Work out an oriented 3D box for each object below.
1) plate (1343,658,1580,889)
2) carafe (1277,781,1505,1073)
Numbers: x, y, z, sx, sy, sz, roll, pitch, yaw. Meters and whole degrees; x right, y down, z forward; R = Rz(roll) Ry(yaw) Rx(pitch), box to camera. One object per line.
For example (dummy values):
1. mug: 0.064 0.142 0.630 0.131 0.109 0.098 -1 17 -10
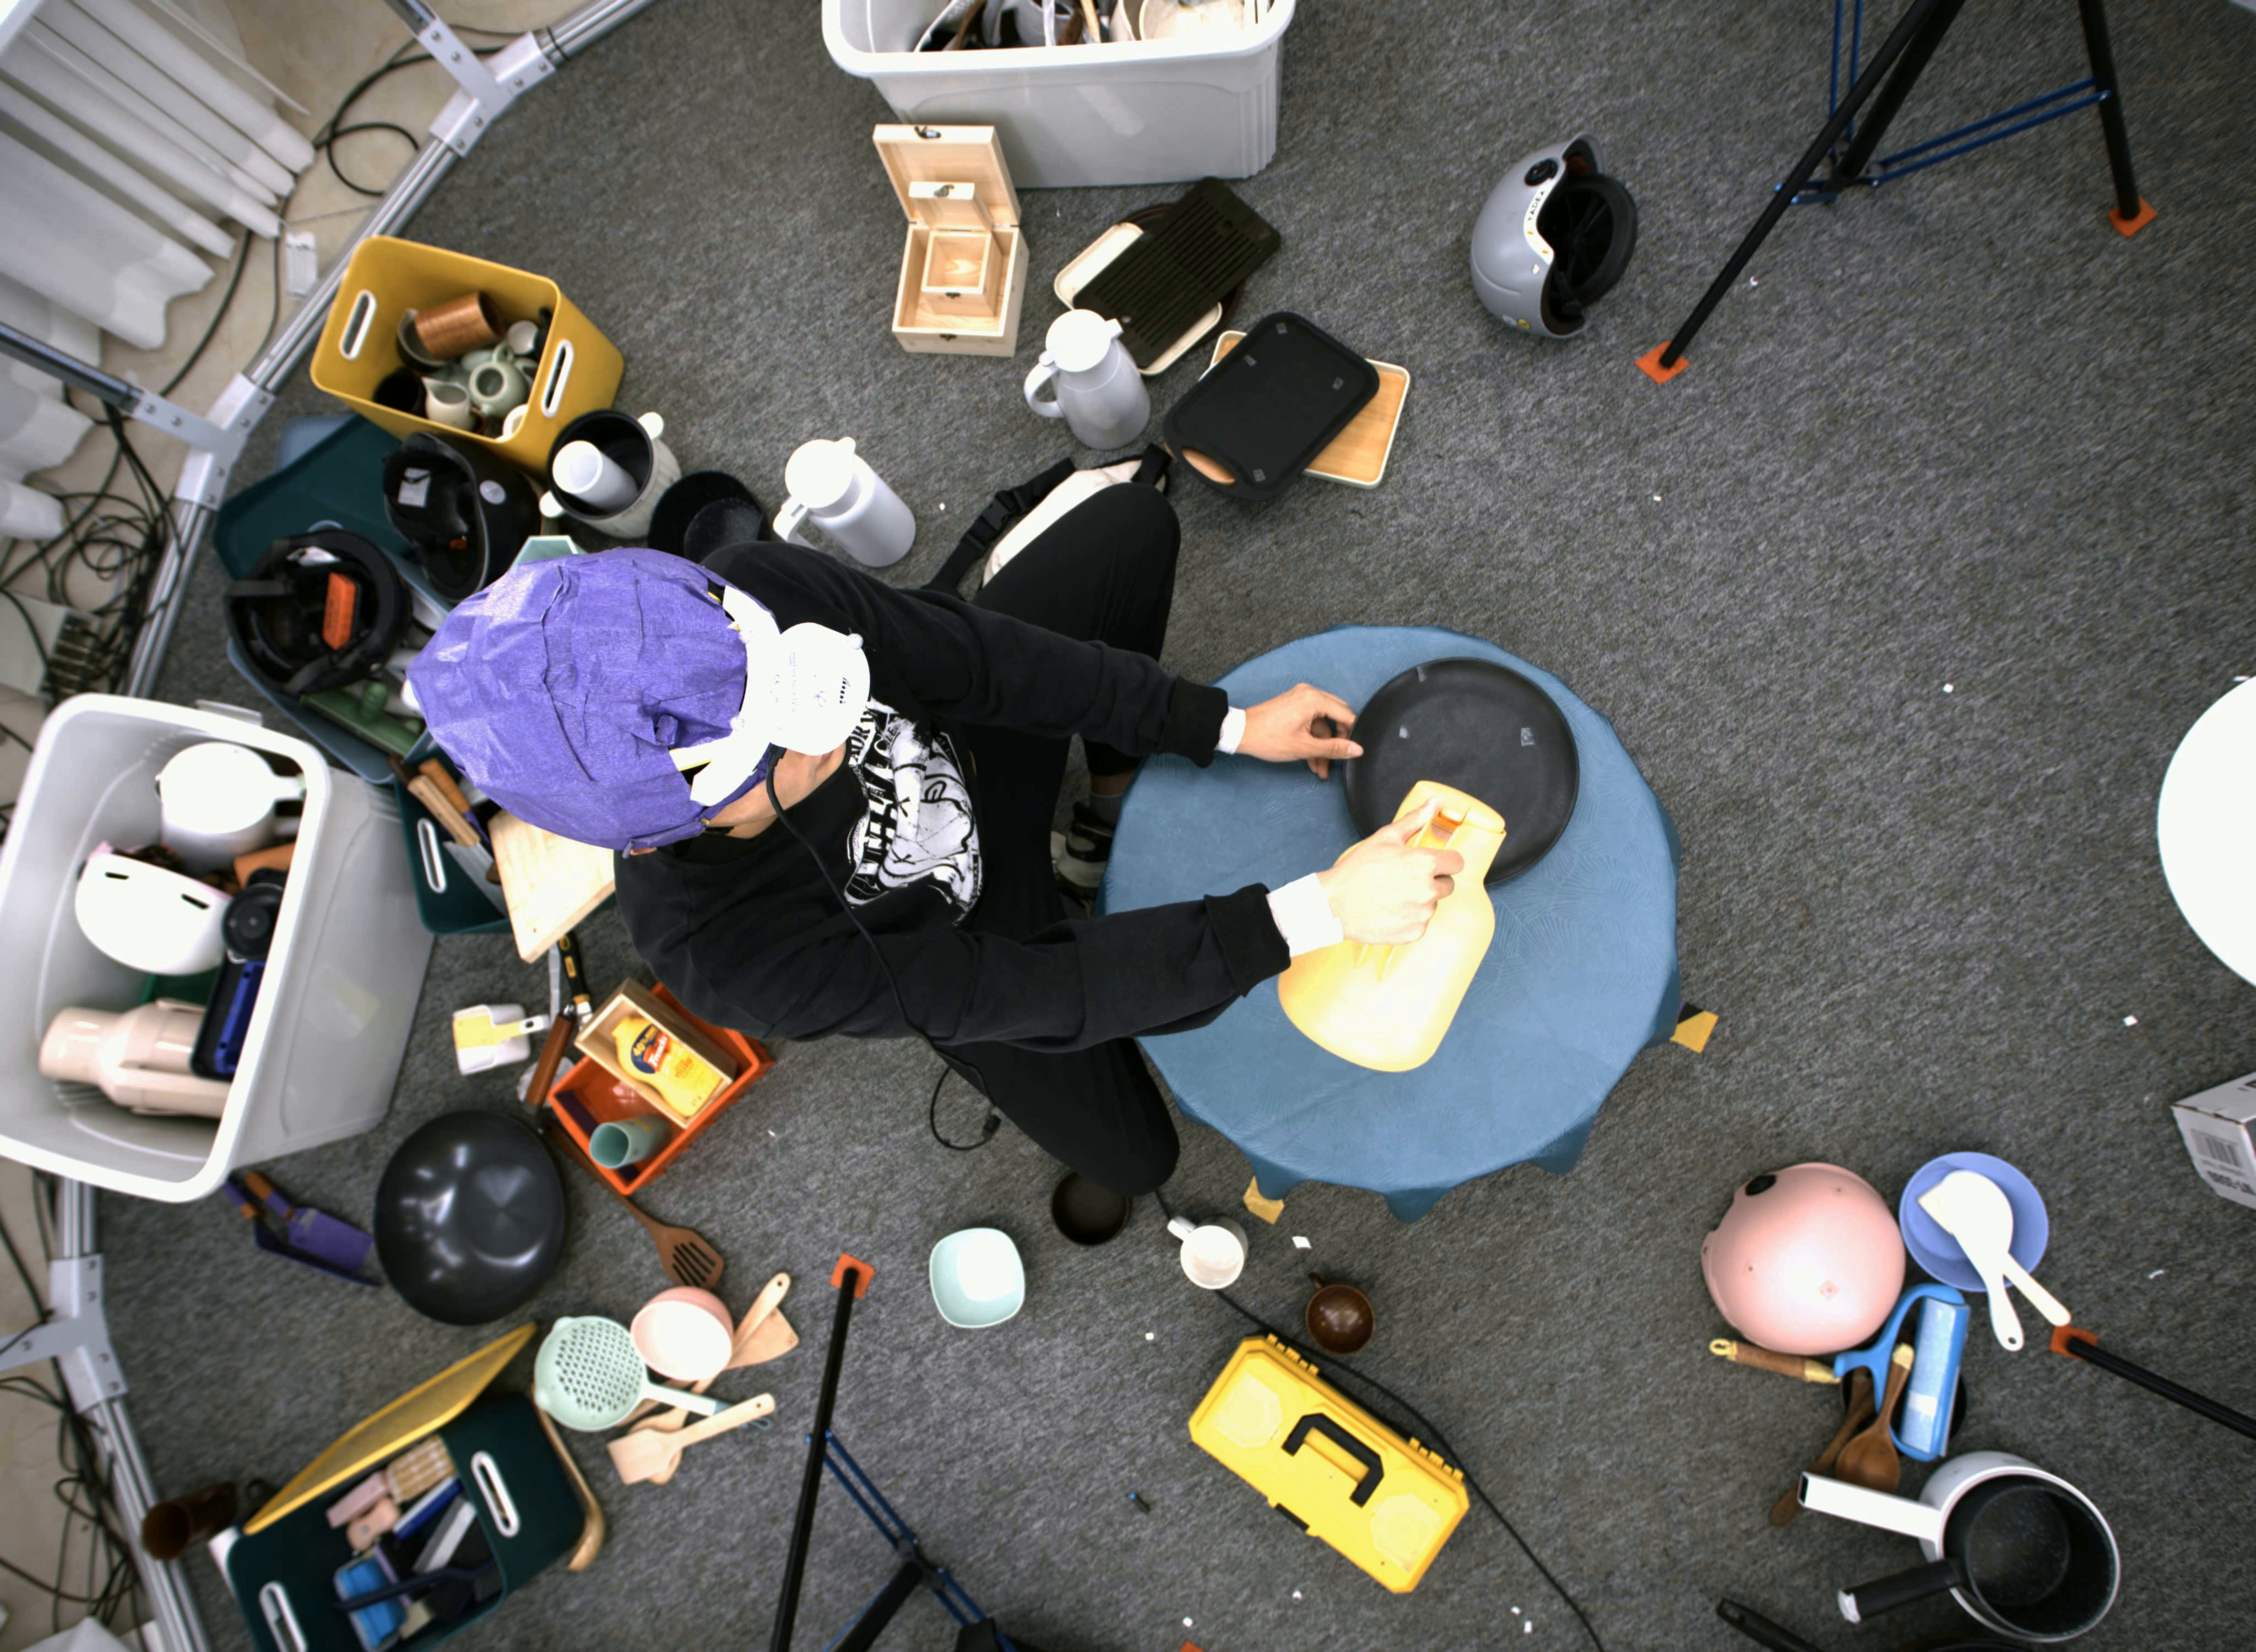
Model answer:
1. plate: 0.346 -0.056 1.433 0.245 0.023 0.244 0 90 7
2. carafe: 0.246 0.088 1.265 0.163 0.200 0.263 27 104 19
